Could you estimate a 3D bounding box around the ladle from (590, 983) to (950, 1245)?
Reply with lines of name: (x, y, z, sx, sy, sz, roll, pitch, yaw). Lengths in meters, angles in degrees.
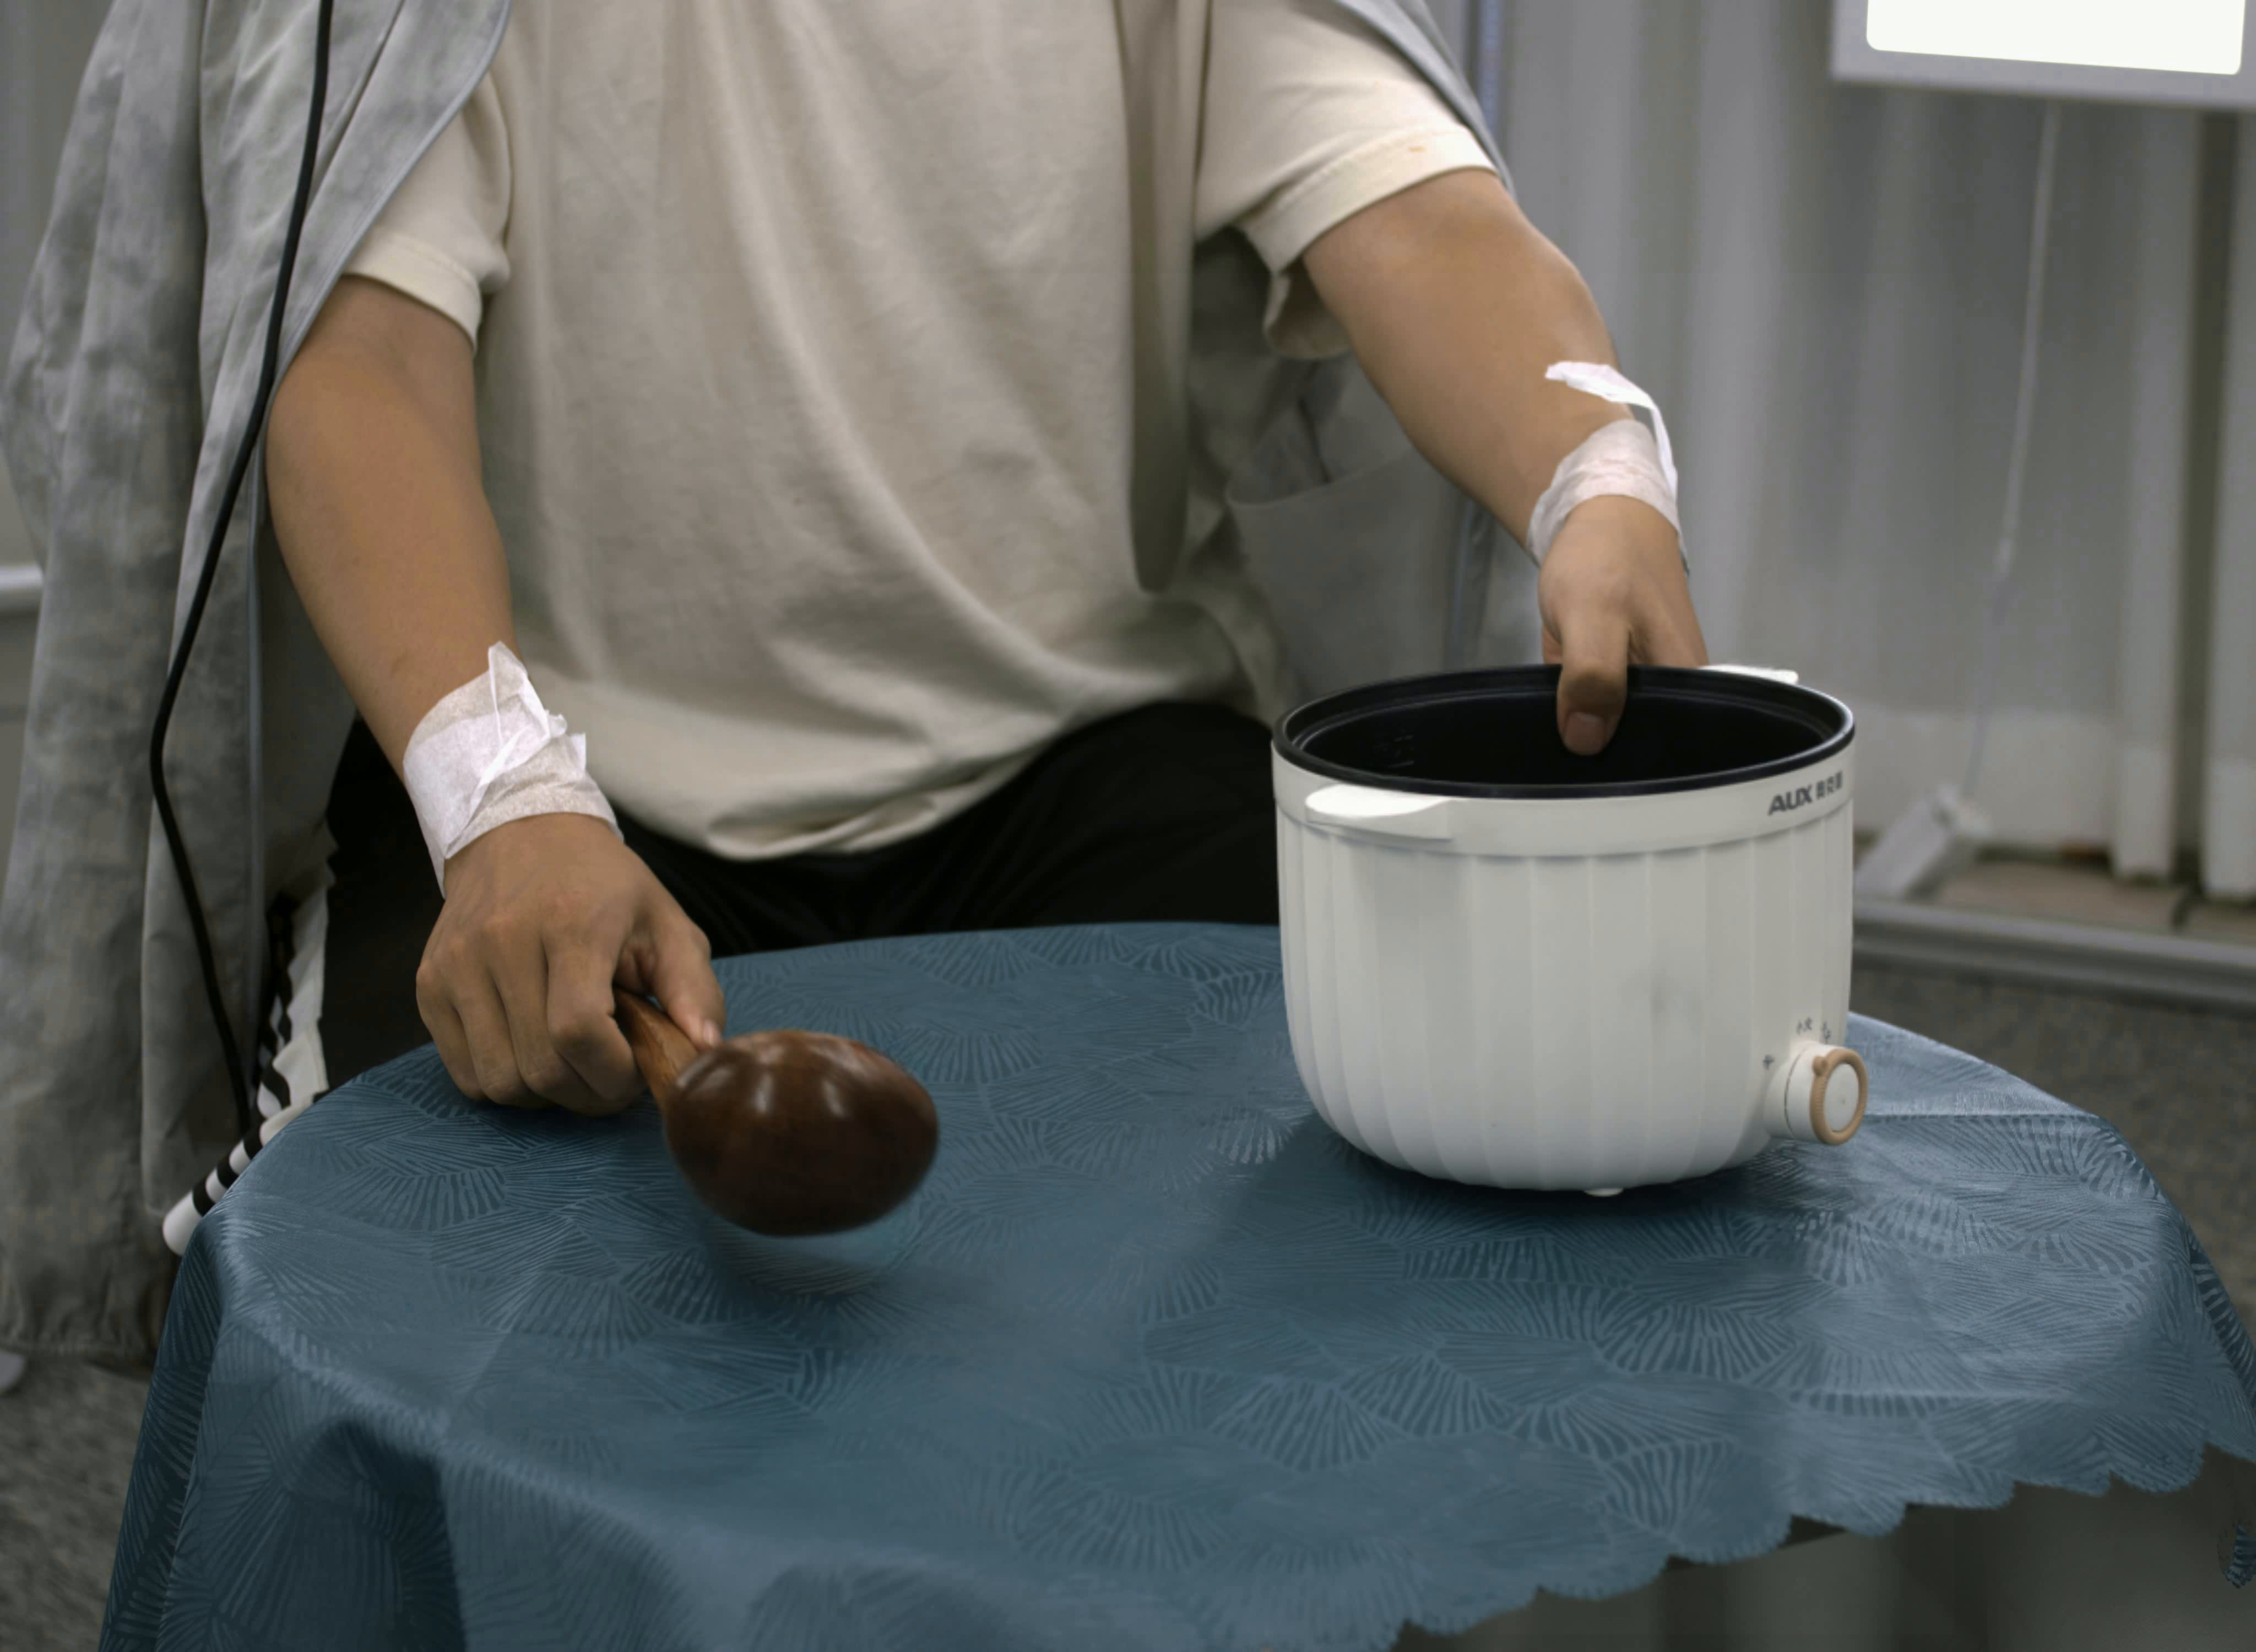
ladle: (-0.121, 0.065, 1.620, 0.082, 0.077, 0.271, 30, 5, -20)

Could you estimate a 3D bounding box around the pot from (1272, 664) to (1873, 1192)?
pot: (0.143, 0.032, 1.649, 0.188, 0.144, 0.241, 5, 16, 37)
